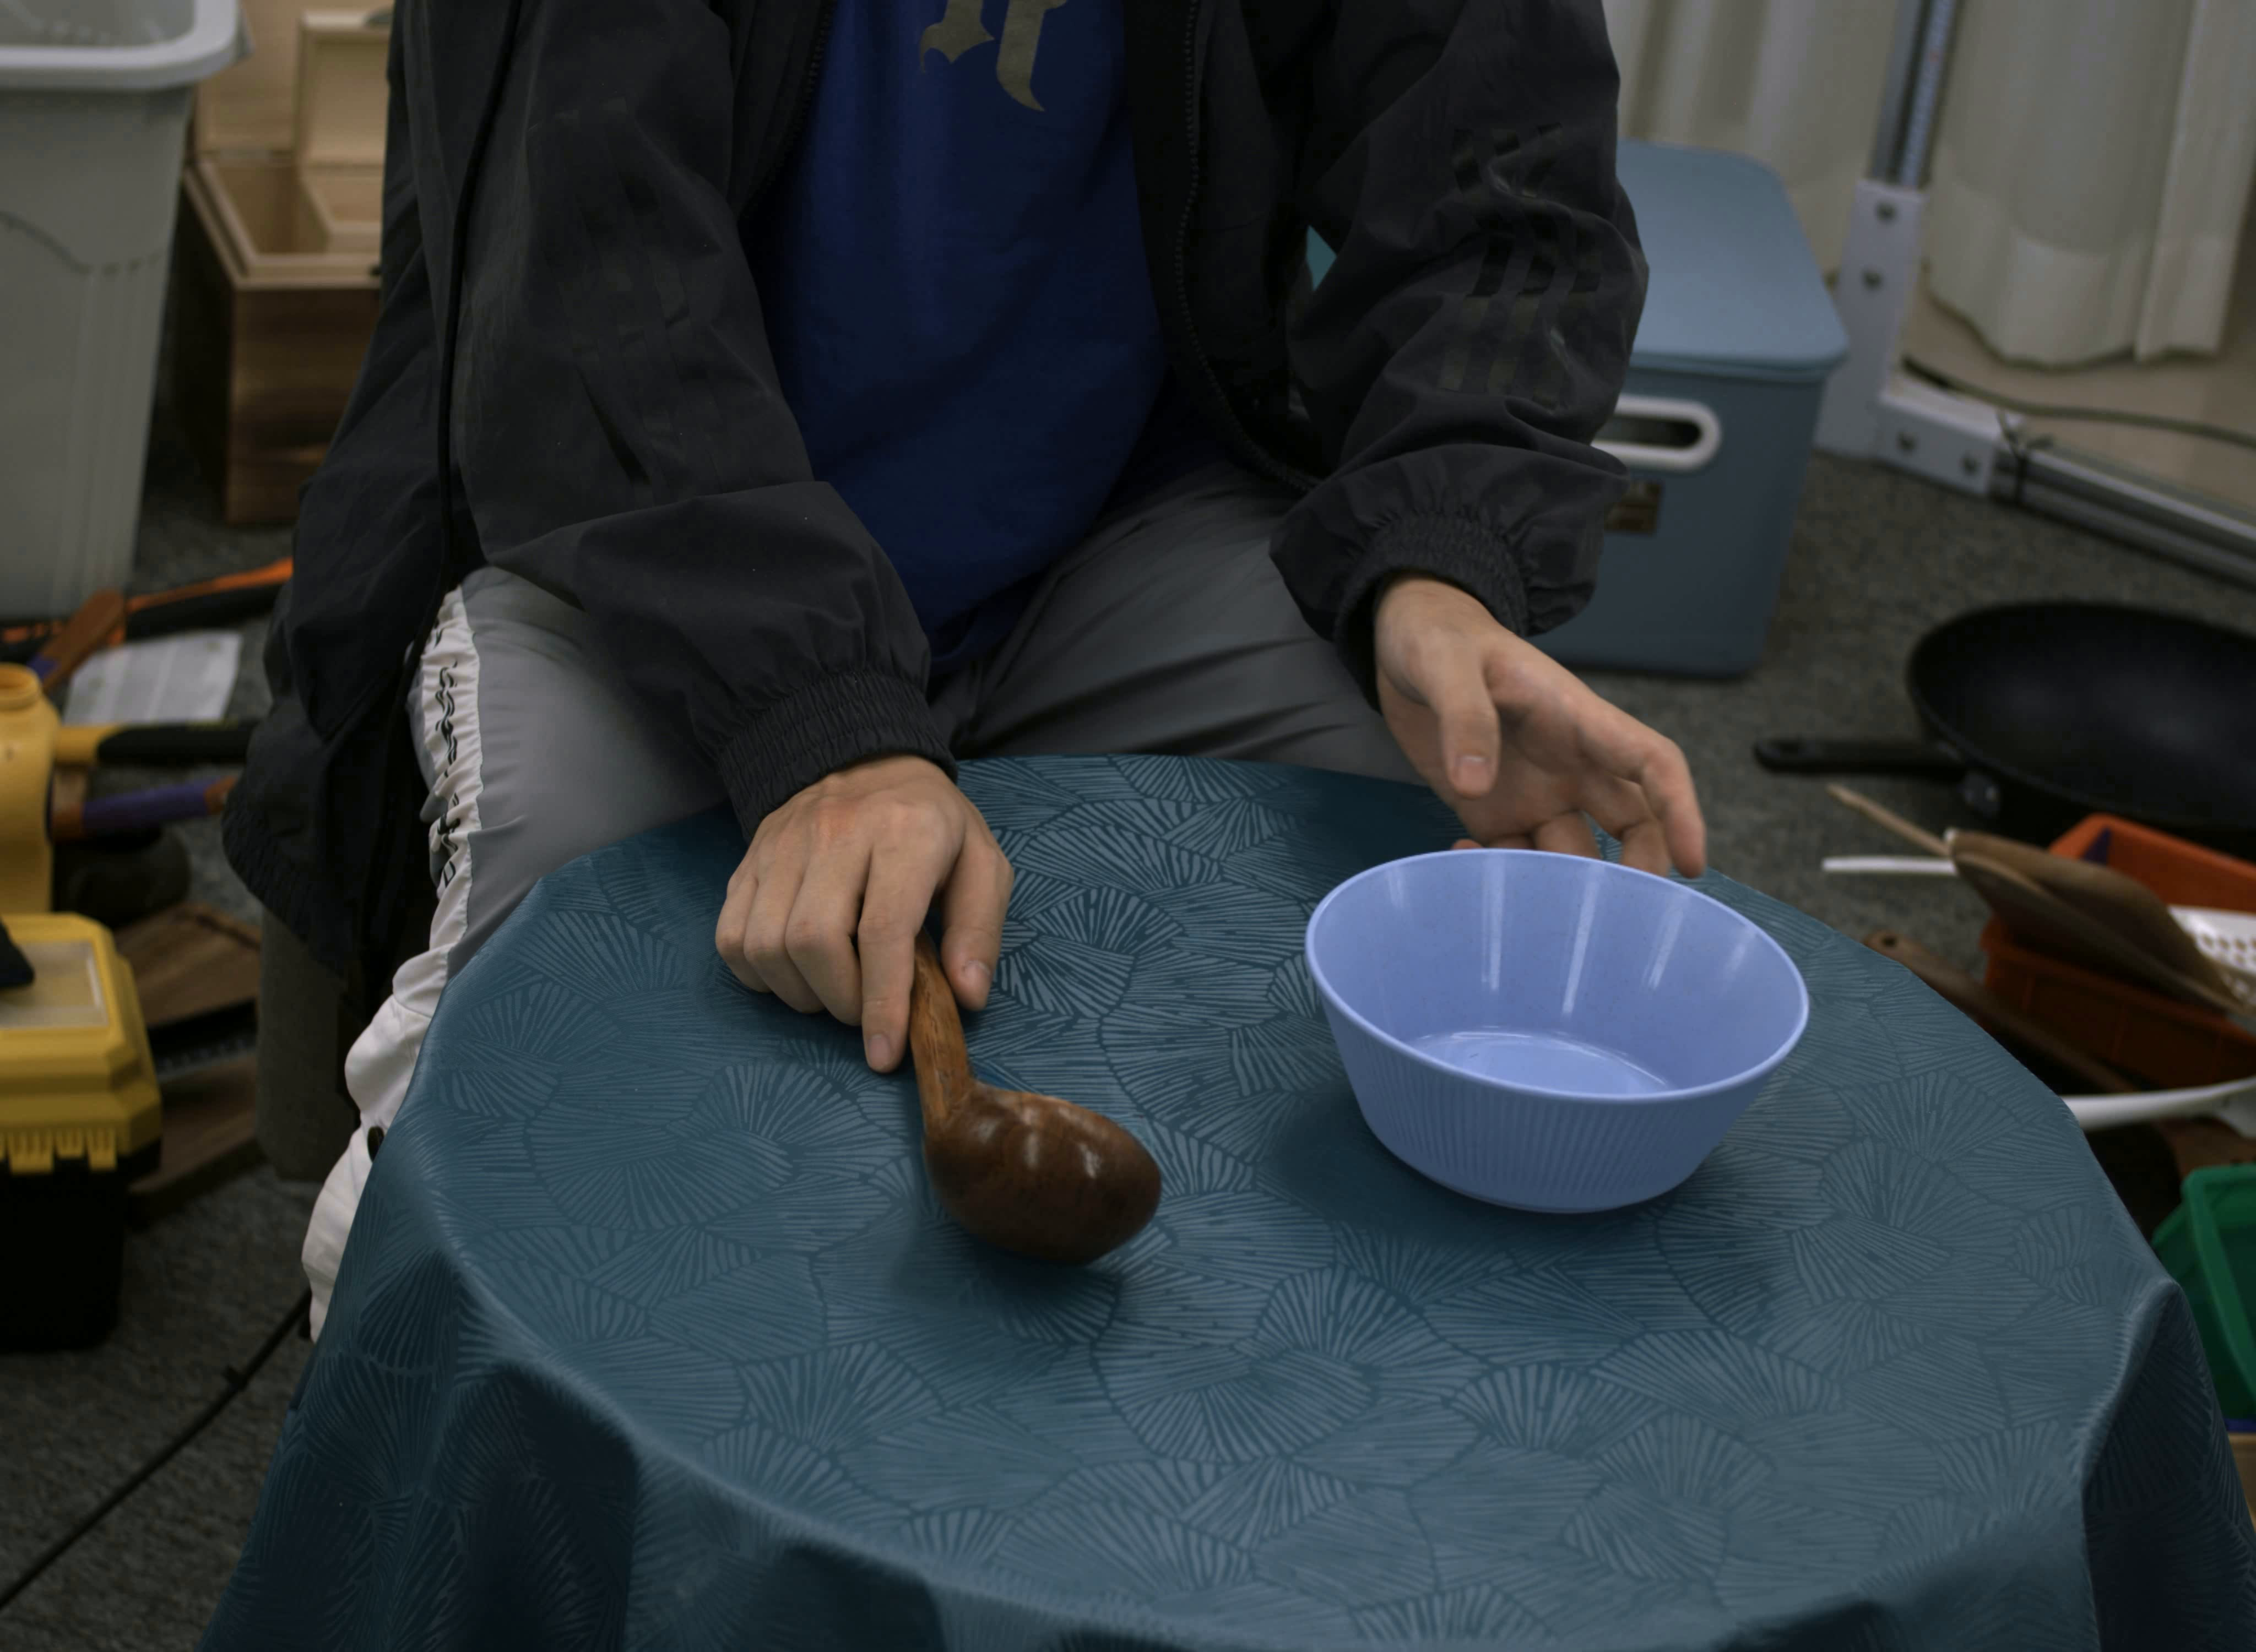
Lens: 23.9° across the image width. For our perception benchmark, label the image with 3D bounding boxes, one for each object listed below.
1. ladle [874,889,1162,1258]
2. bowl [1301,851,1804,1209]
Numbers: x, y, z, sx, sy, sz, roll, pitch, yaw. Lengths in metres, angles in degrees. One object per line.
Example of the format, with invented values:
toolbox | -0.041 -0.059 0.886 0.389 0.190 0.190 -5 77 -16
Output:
ladle | -0.045 0.066 1.830 0.081 0.076 0.276 44 13 -23
bowl | 0.143 0.076 1.851 0.175 0.070 0.177 6 26 -3
